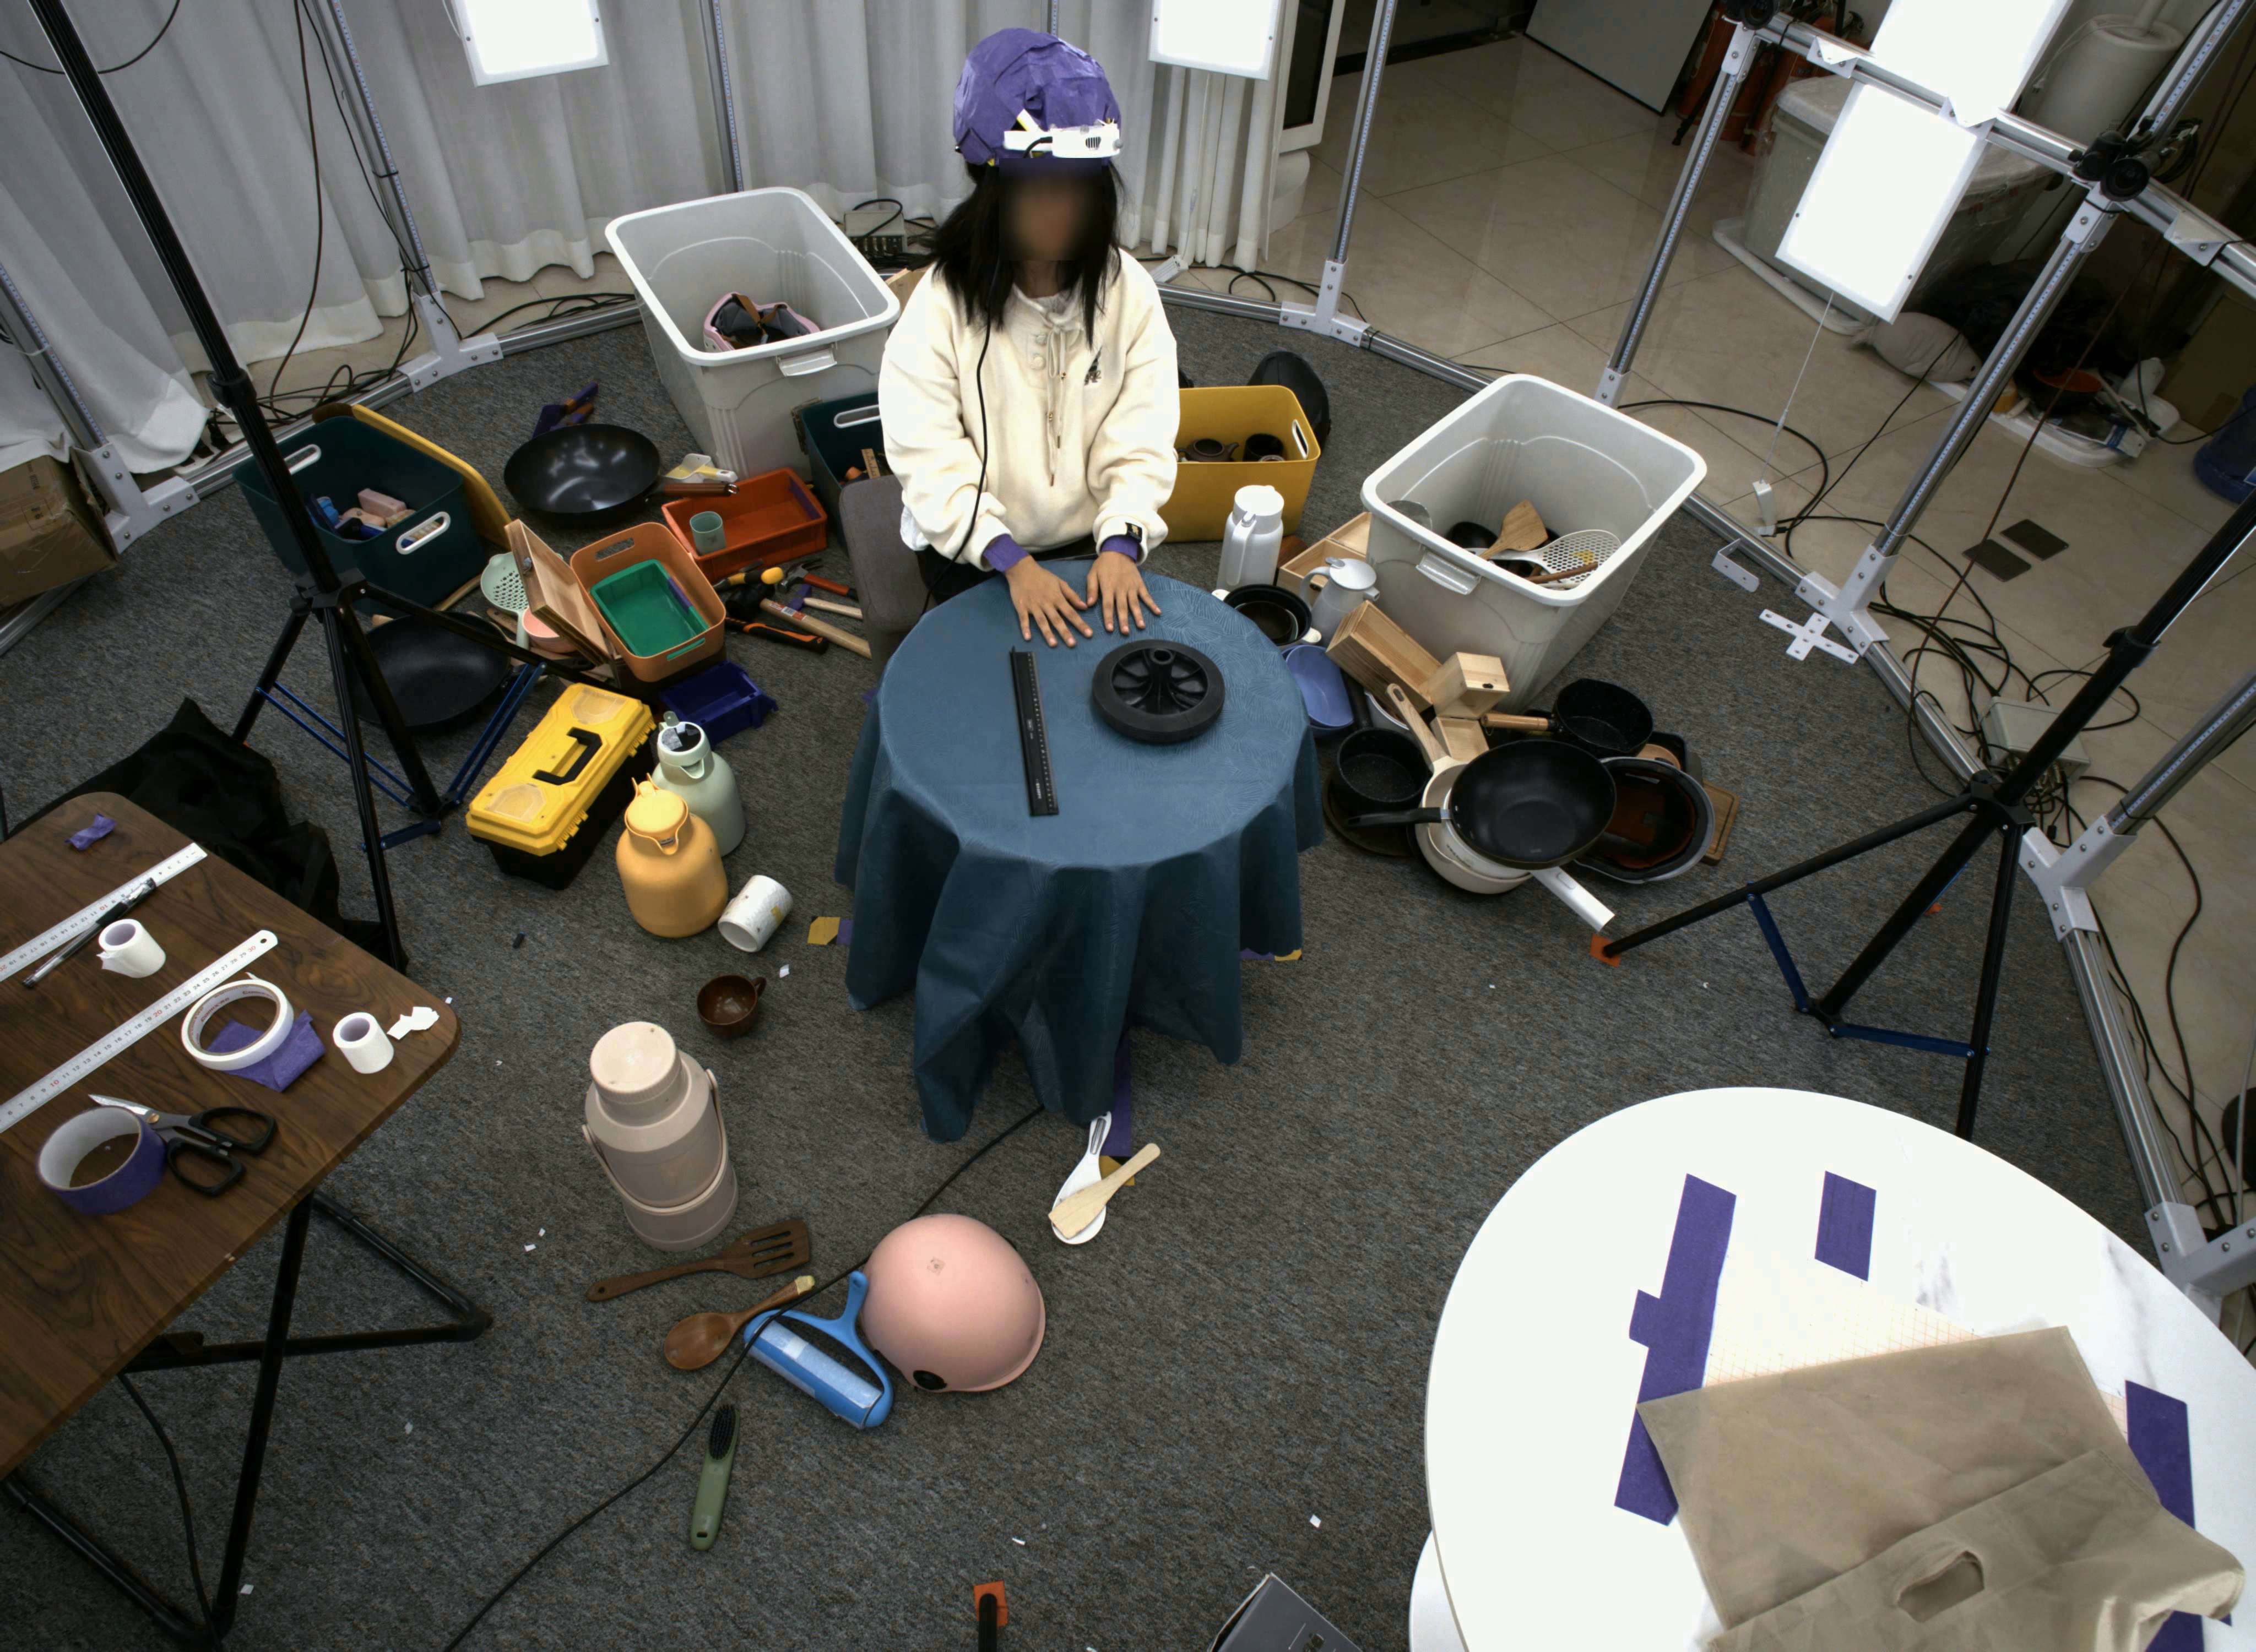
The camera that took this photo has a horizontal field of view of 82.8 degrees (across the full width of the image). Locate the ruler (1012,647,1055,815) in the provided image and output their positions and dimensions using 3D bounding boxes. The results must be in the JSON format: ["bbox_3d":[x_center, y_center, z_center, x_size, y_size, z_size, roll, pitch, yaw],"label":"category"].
[{"bbox_3d":[-0.131,-0.138,1.771,0.039,0.017,0.320,-1,49,-10],"label":"ruler"}]

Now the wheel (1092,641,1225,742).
[{"bbox_3d":[0.045,-0.206,1.803,0.190,0.077,0.192,9,49,3],"label":"wheel"}]
